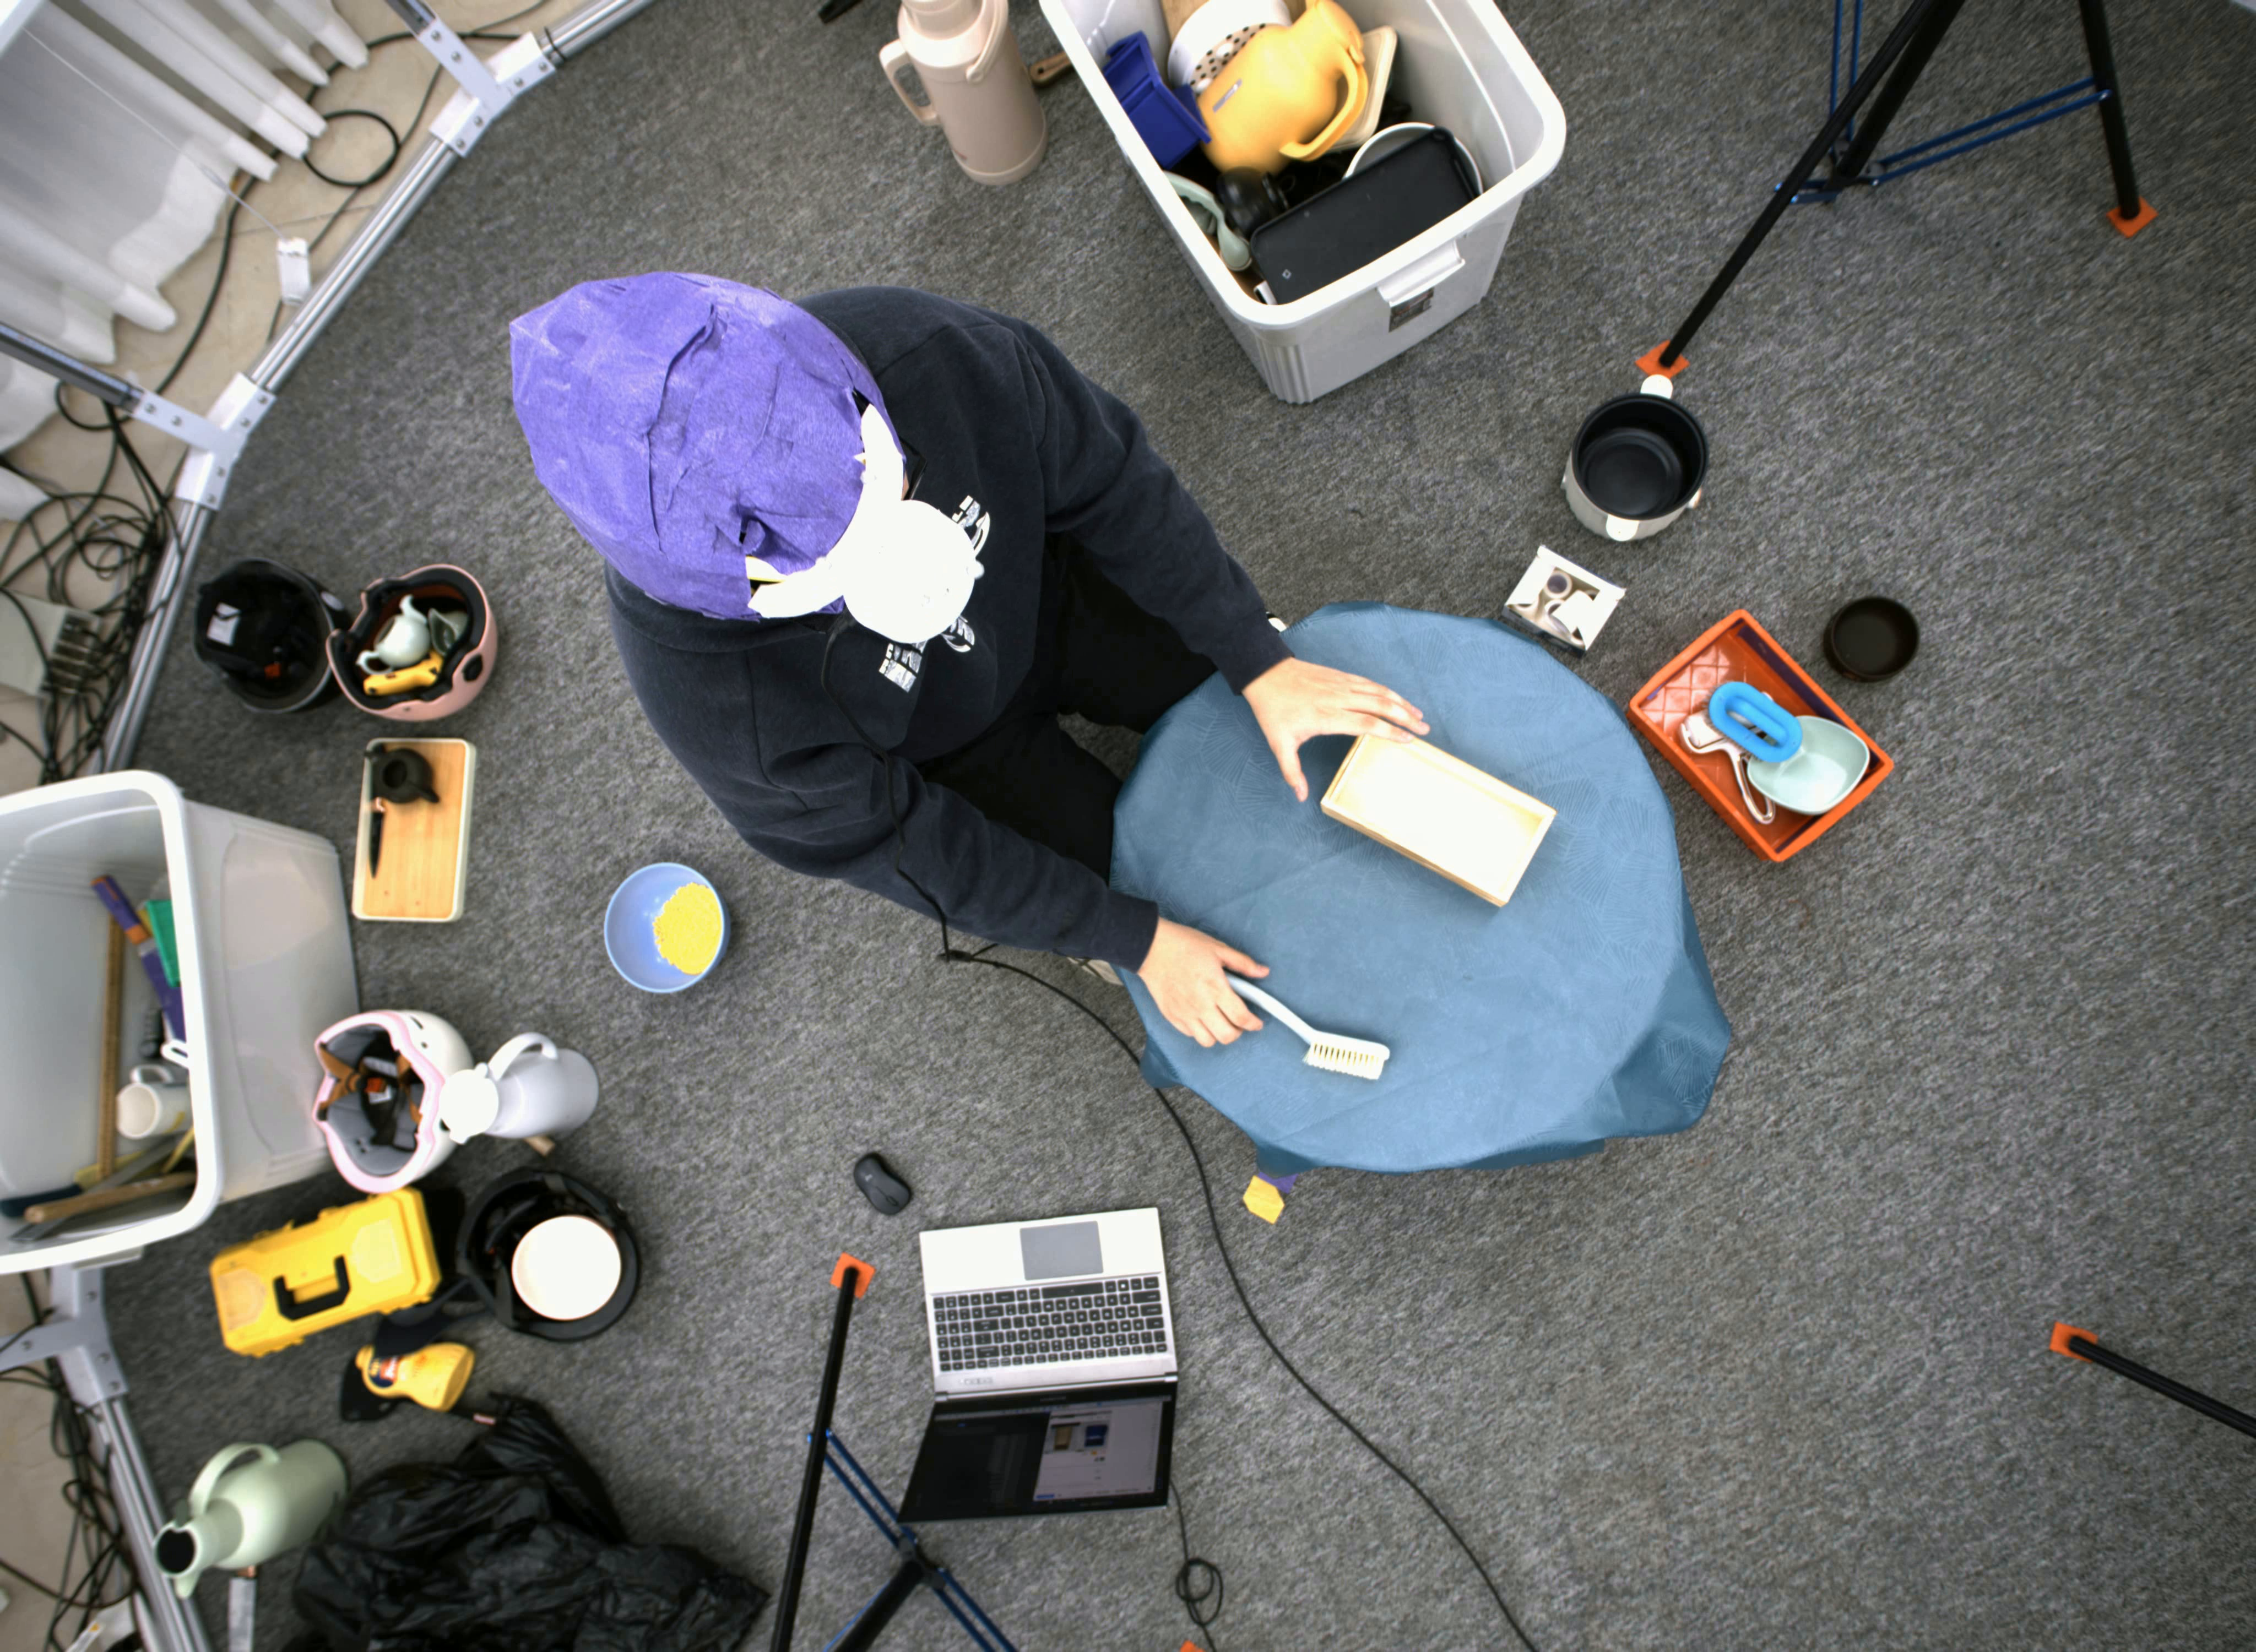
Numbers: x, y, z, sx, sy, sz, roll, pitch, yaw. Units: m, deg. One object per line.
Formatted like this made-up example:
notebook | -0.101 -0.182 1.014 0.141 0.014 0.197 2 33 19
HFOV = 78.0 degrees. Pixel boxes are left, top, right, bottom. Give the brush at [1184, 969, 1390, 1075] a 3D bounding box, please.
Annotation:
brush | 0.161 0.205 1.455 0.228 0.038 0.049 24 82 11

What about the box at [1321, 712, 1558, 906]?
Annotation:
box | 0.317 -0.018 1.416 0.211 0.080 0.107 29 91 11
